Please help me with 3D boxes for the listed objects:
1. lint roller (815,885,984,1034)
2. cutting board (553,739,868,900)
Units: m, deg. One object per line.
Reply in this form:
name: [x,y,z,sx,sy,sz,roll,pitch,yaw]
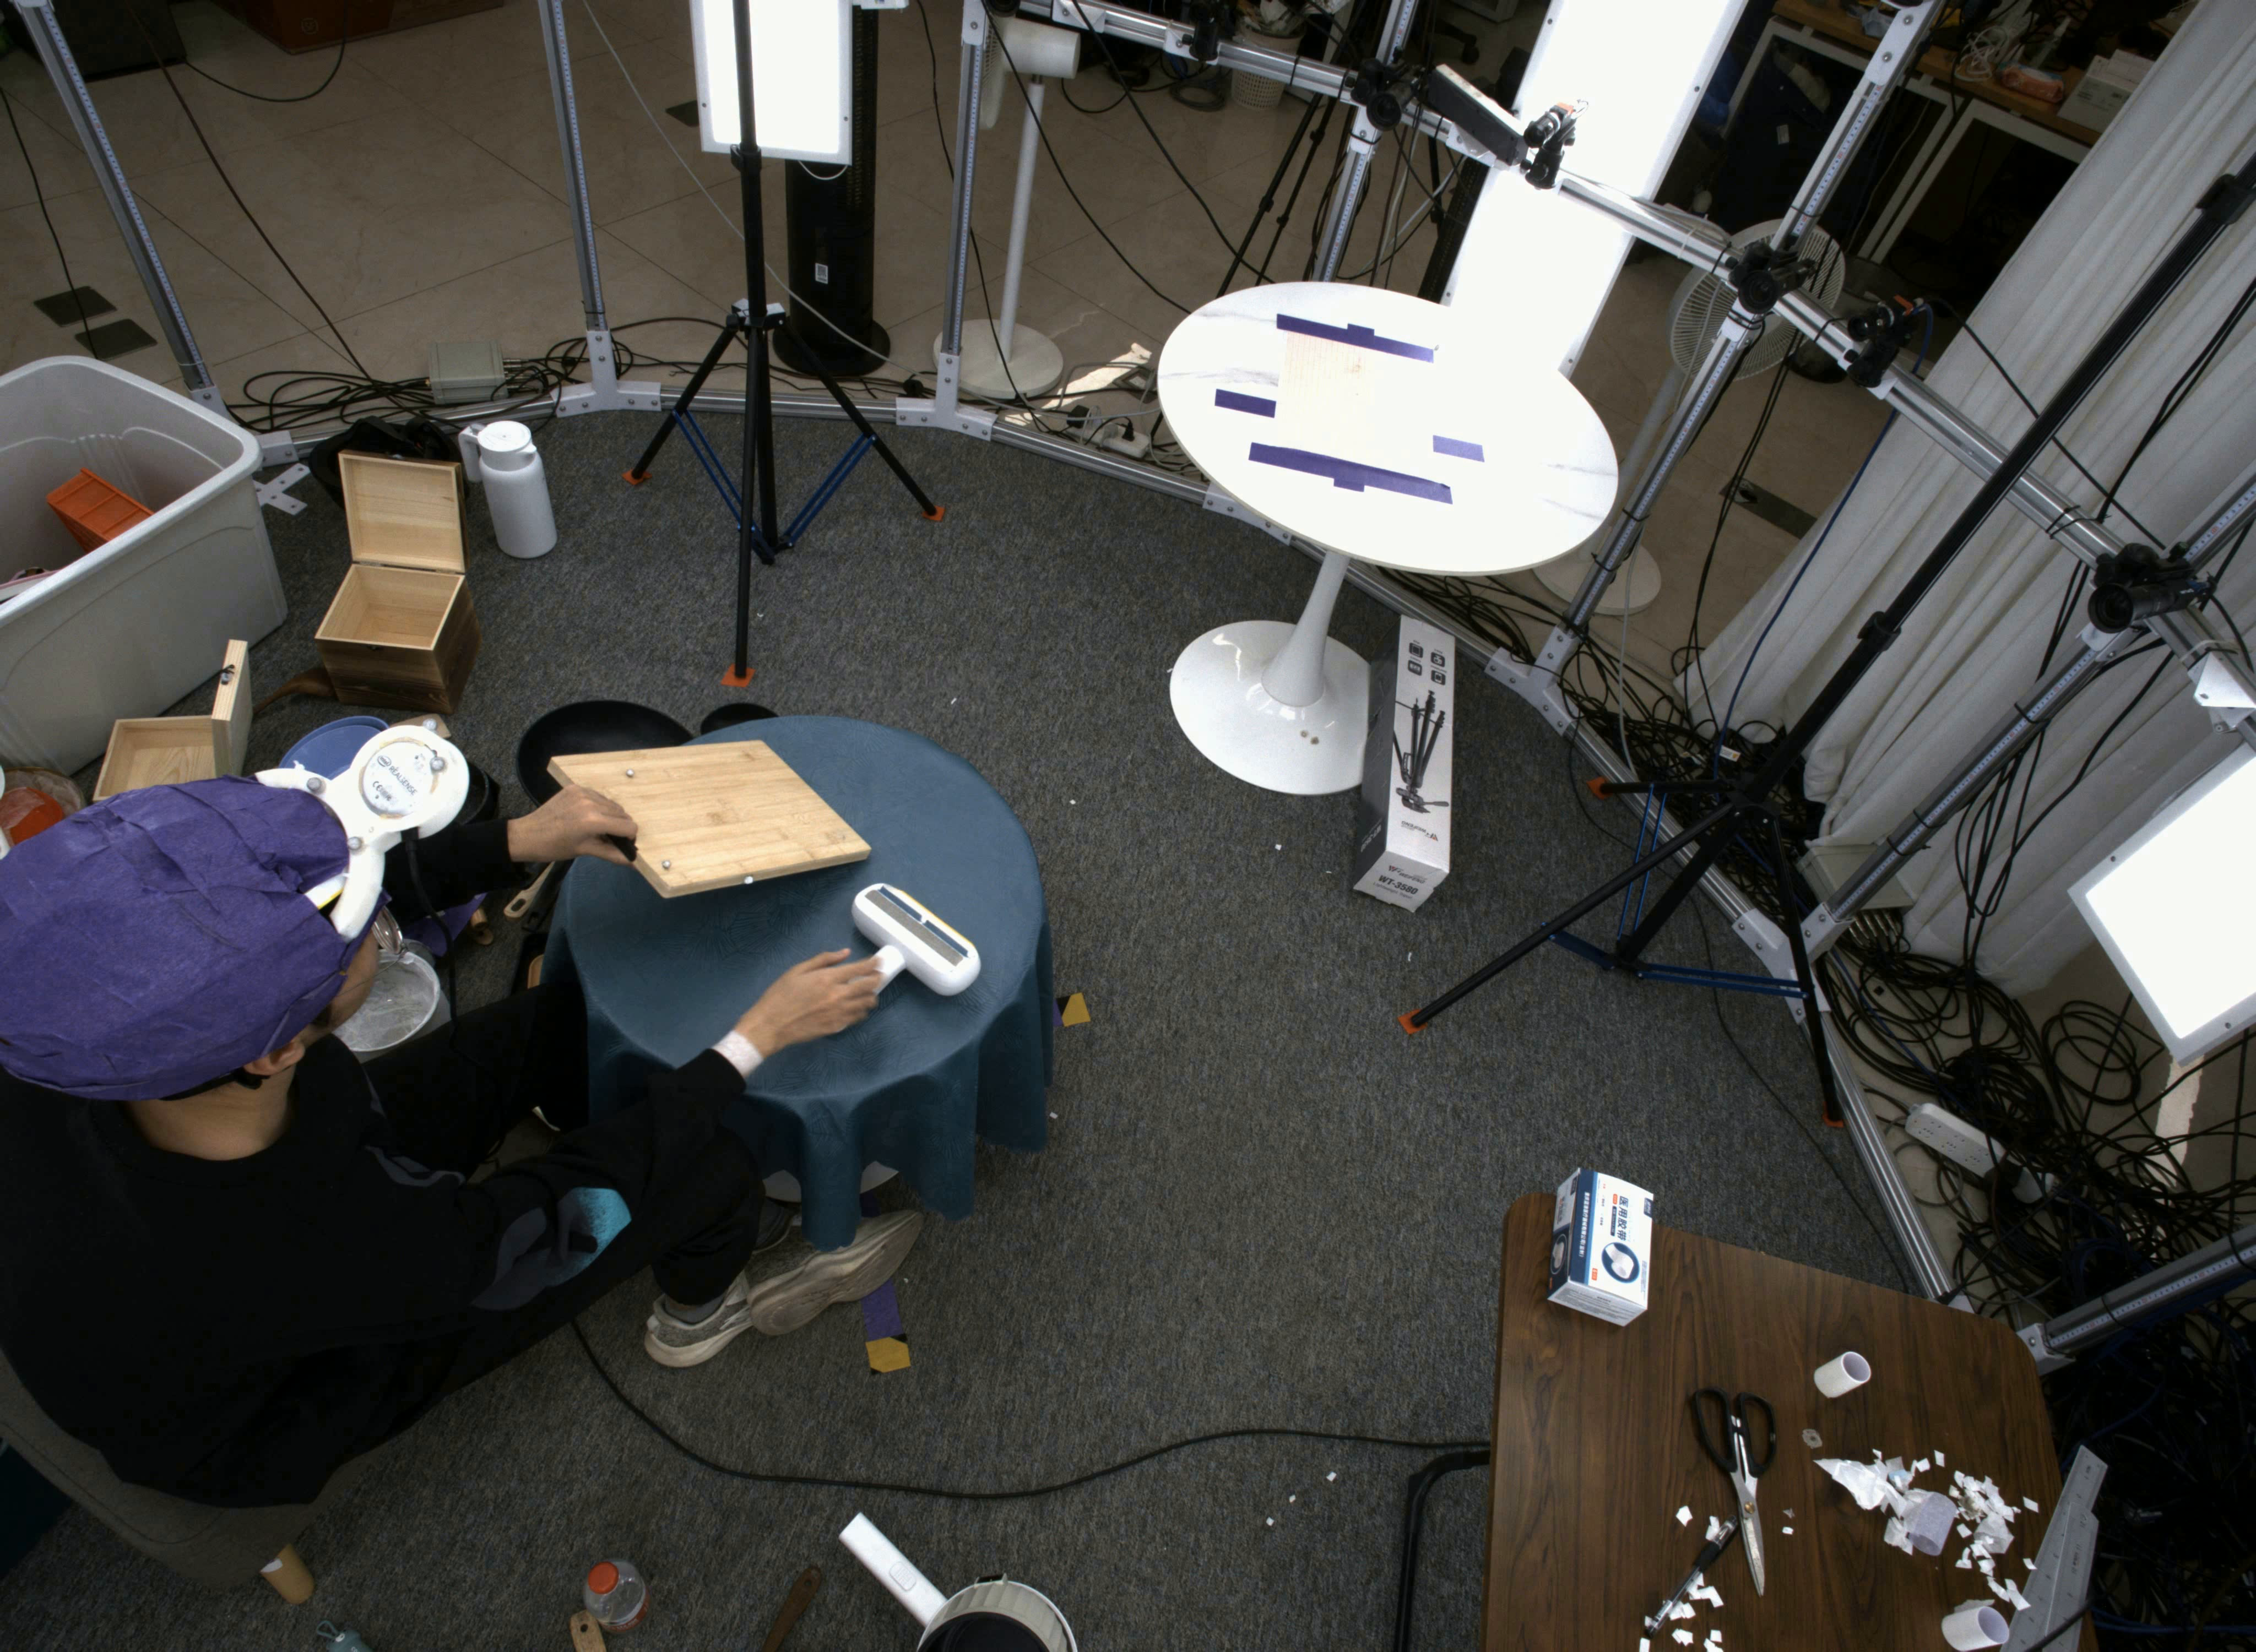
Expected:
lint roller: [-0.301,0.176,1.590,0.187,0.076,0.193,40,56,22]
cutting board: [-0.514,-0.019,1.597,0.245,0.024,0.353,42,24,18]
